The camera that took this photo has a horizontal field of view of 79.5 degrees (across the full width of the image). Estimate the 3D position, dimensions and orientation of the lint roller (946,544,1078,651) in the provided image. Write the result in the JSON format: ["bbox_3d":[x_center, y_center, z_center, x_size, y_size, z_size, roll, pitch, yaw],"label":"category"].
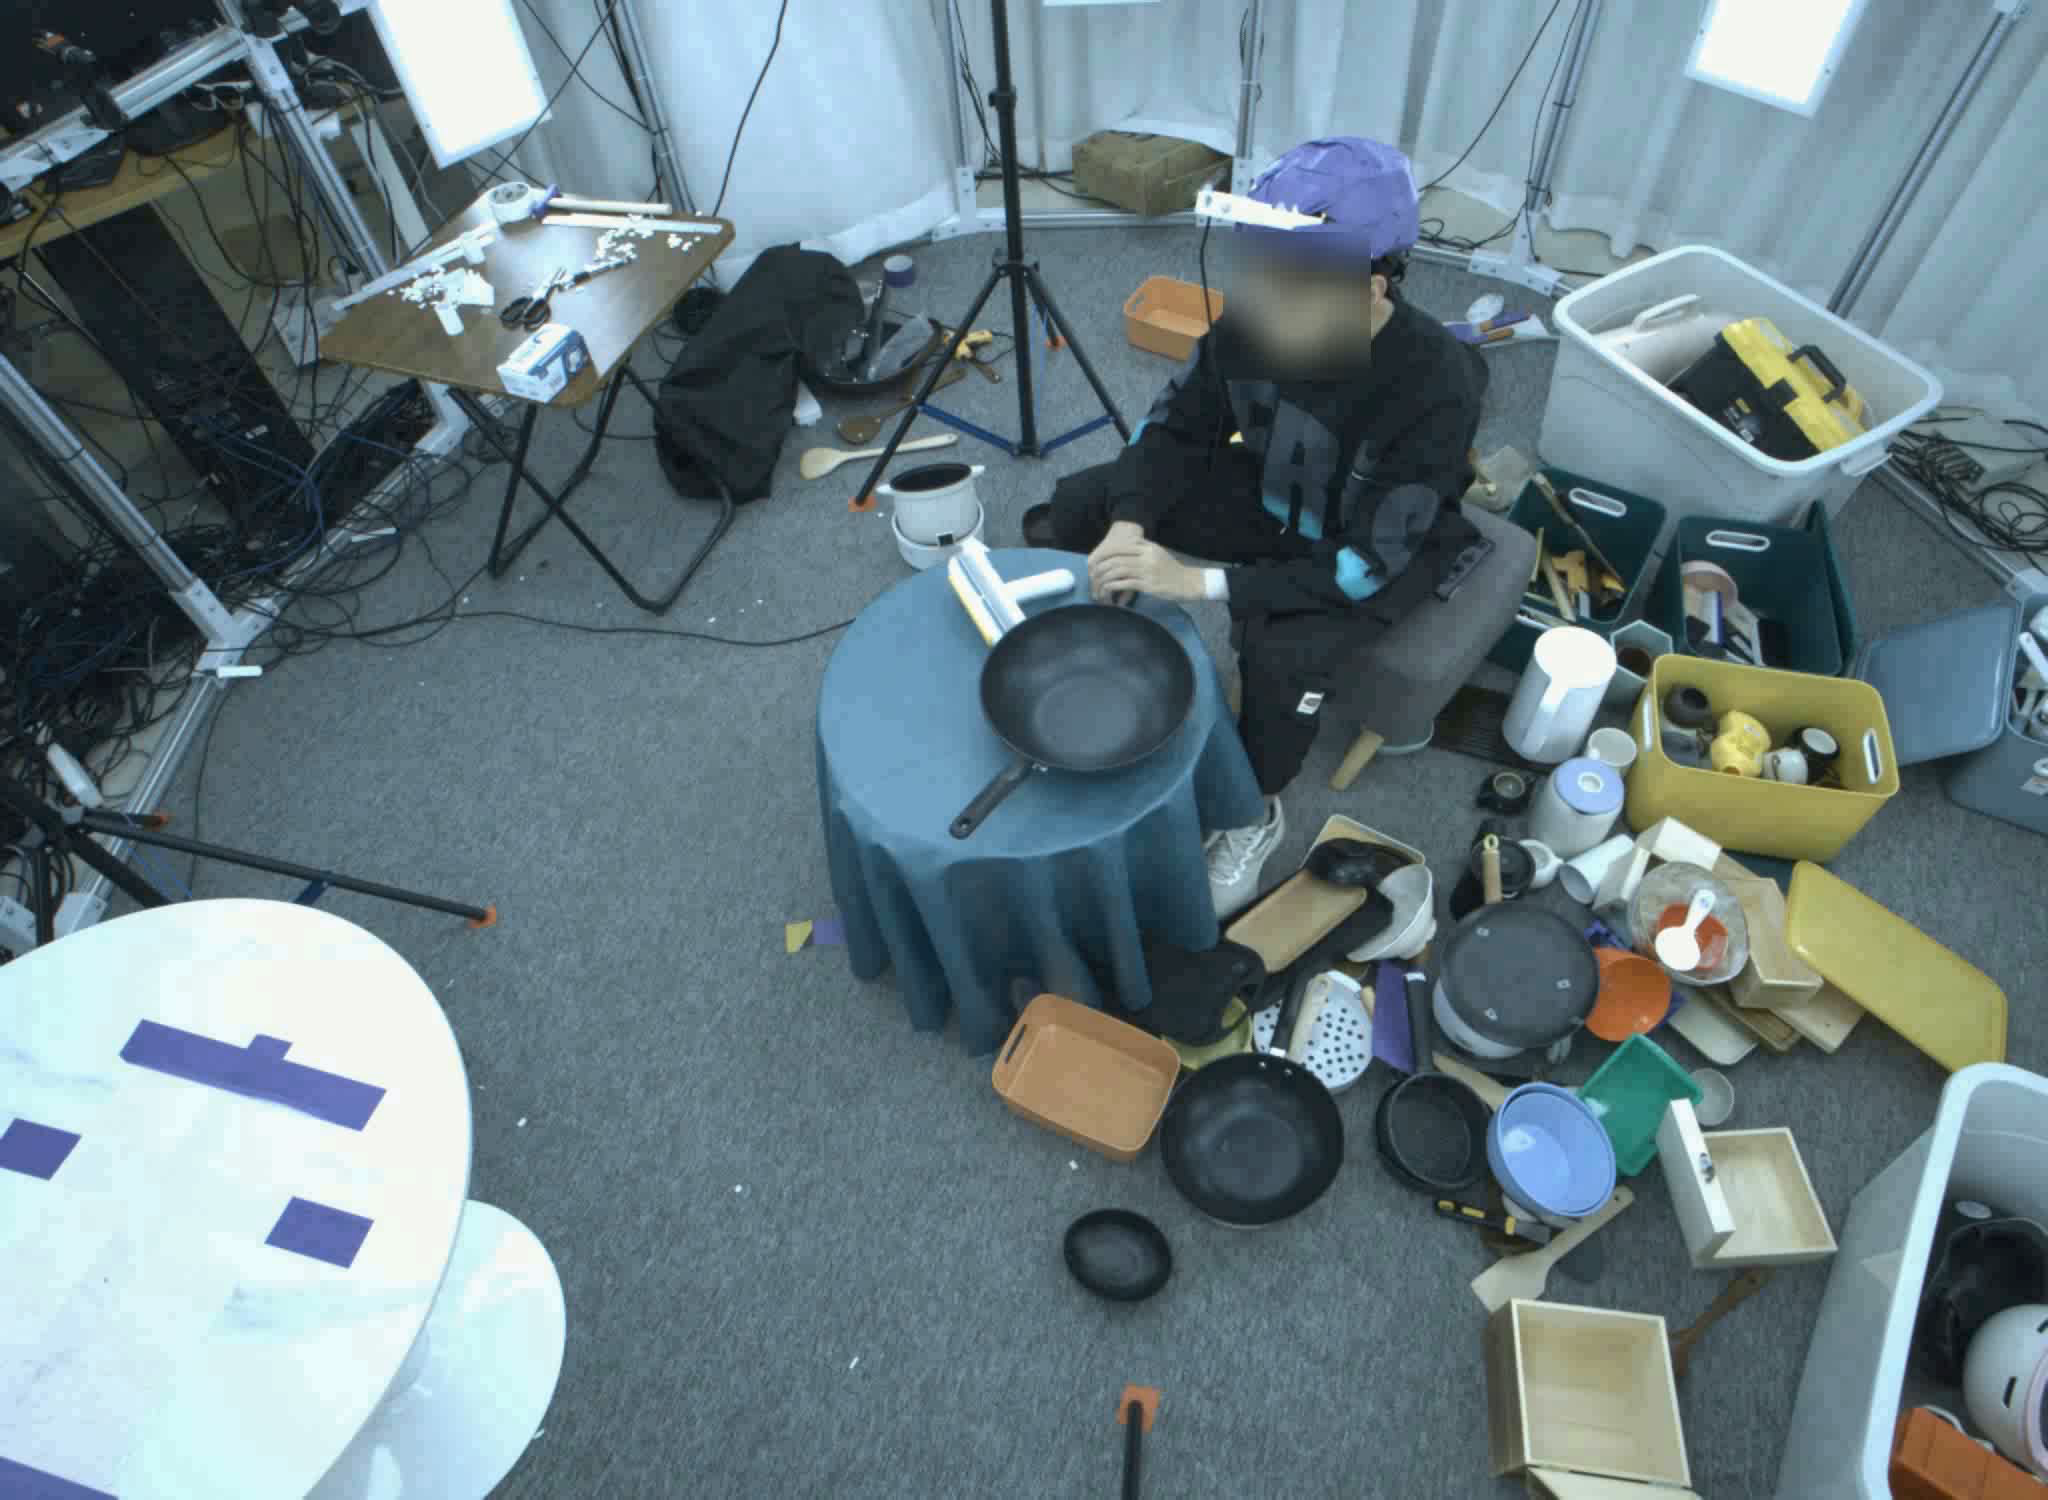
[{"bbox_3d":[-0.005,-0.253,1.921,0.194,0.075,0.190,-21,62,-14],"label":"lint roller"}]

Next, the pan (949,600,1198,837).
[{"bbox_3d":[0.047,-0.027,1.734,0.305,0.113,0.479,26,59,21],"label":"pan"}]
